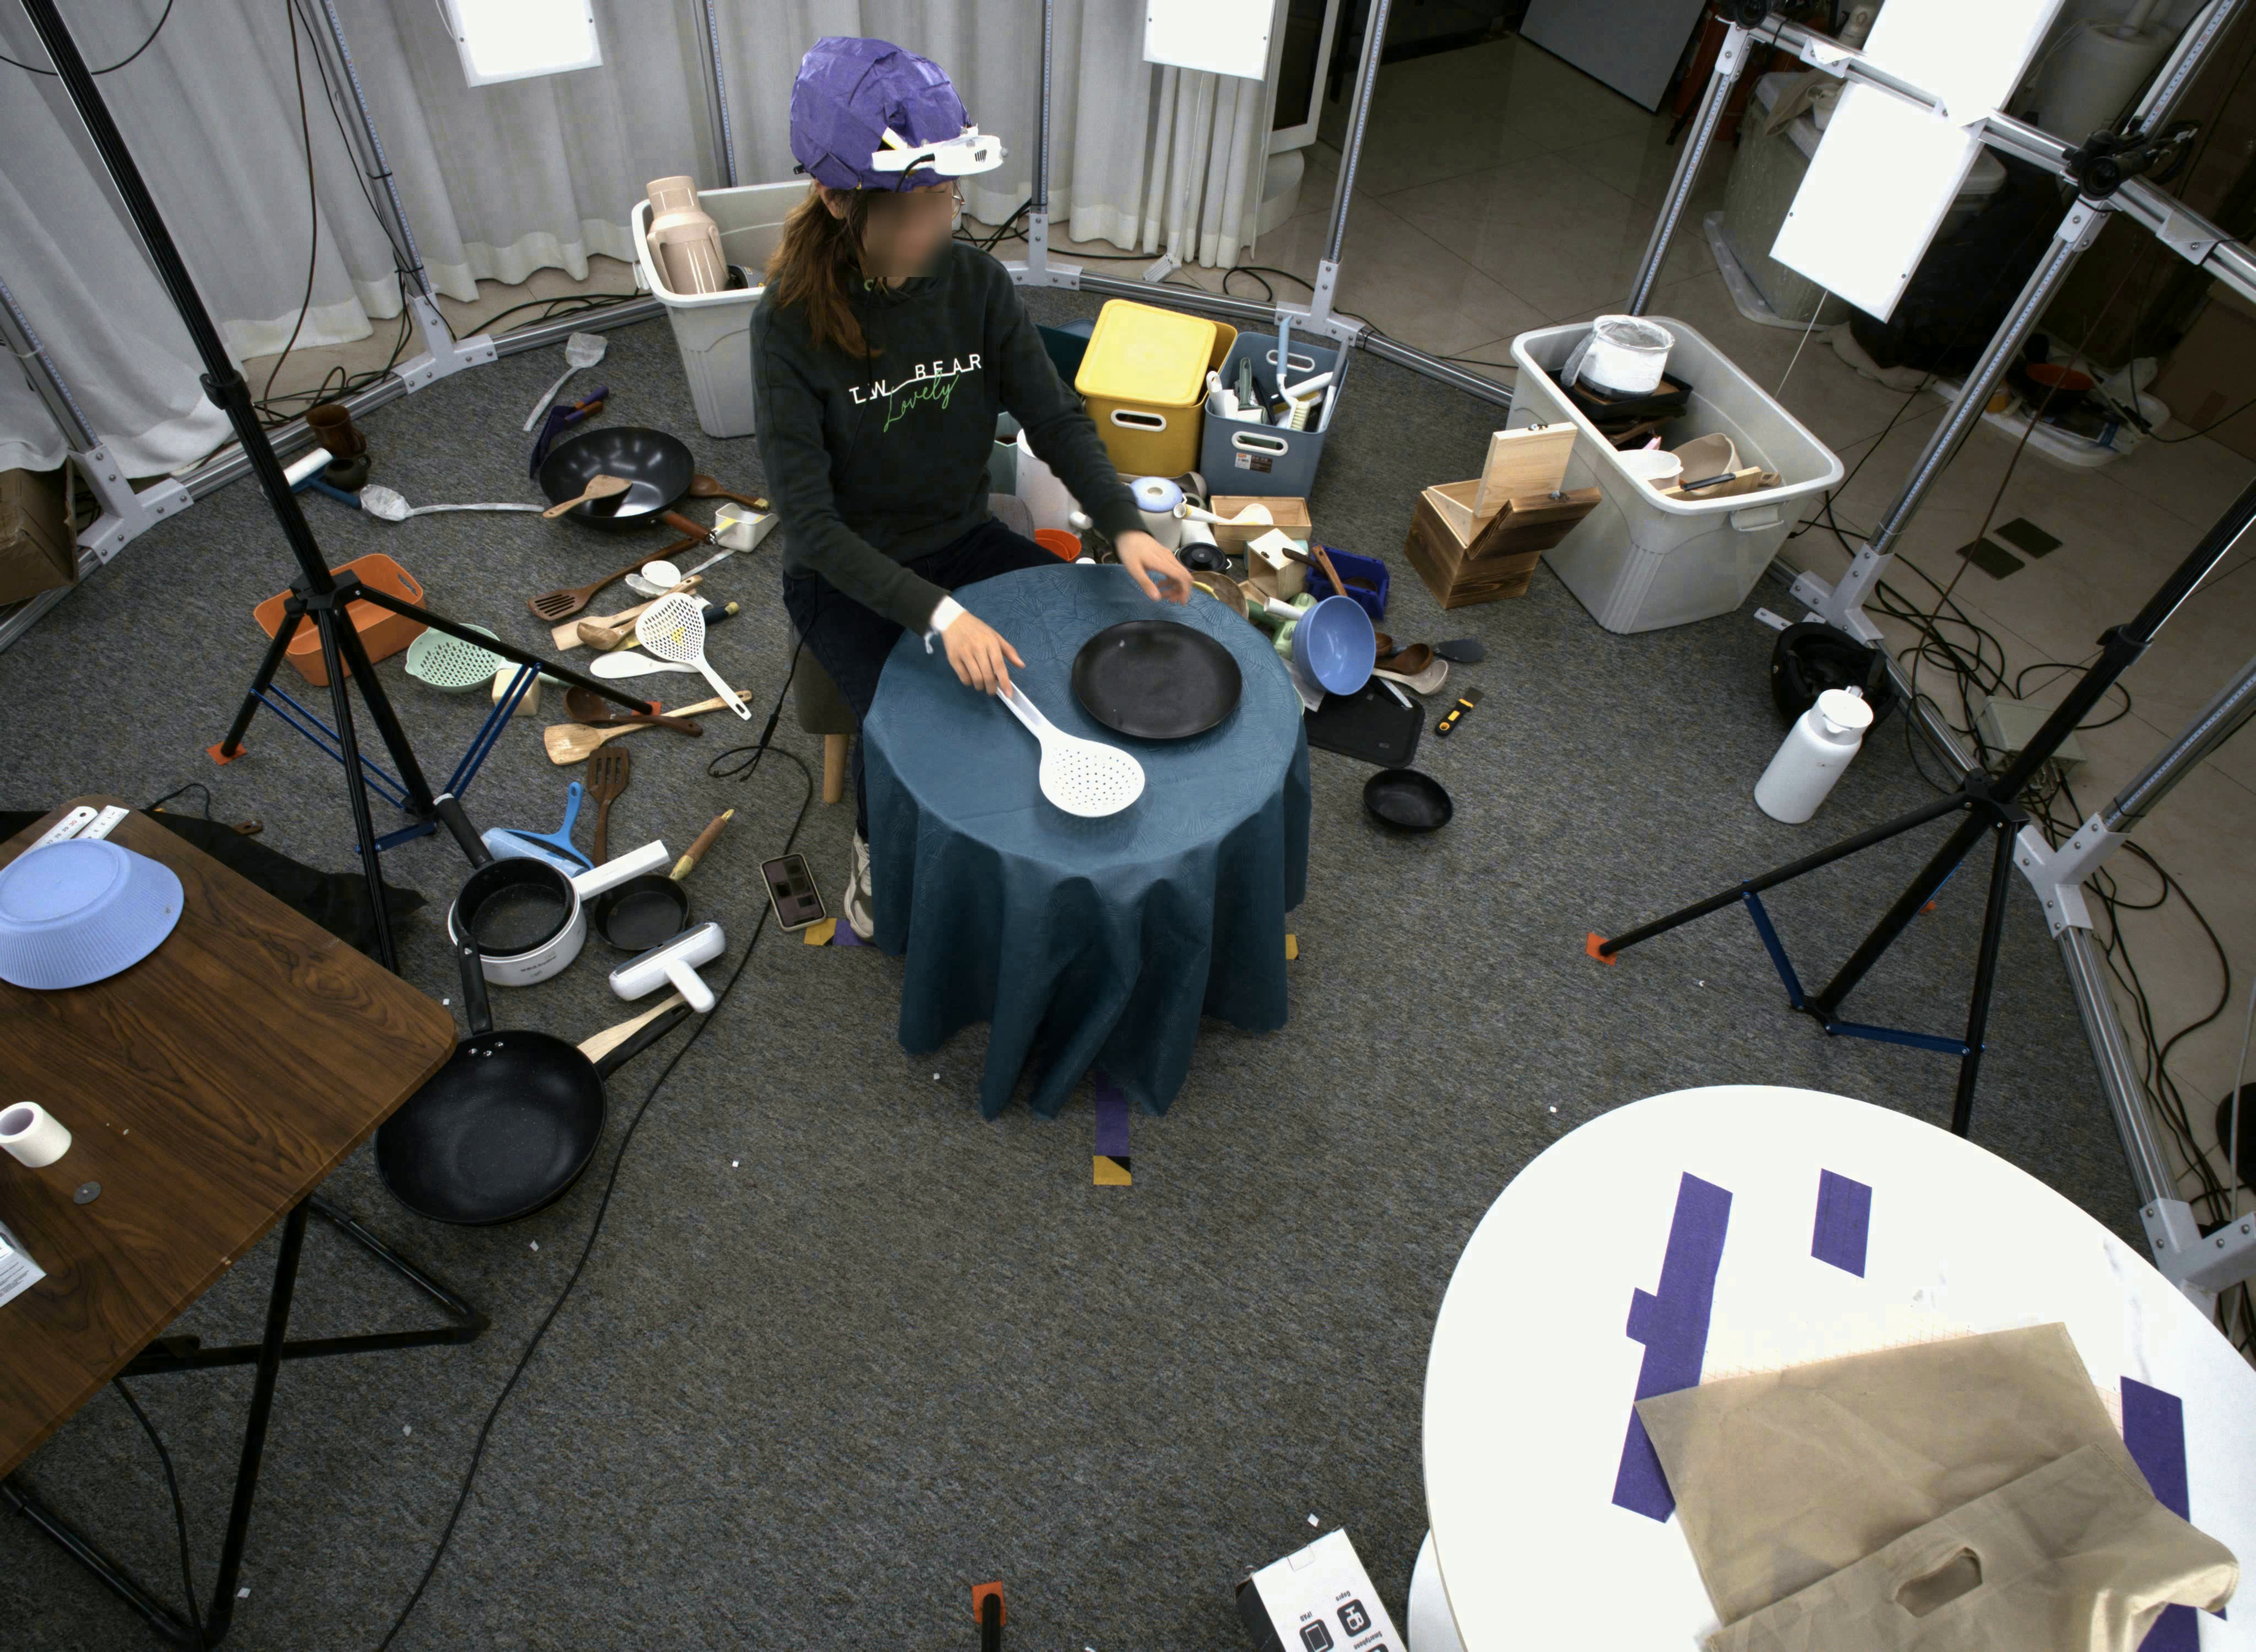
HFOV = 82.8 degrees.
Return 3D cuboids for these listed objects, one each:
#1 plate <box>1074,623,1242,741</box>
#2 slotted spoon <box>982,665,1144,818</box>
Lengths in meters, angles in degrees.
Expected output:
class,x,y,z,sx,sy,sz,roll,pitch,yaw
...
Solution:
class,x,y,z,sx,sy,sz,roll,pitch,yaw
plate,0.042,-0.205,1.851,0.244,0.023,0.250,2,49,-2
slotted spoon,-0.106,-0.121,1.753,0.136,0.044,0.357,-23,53,-24
